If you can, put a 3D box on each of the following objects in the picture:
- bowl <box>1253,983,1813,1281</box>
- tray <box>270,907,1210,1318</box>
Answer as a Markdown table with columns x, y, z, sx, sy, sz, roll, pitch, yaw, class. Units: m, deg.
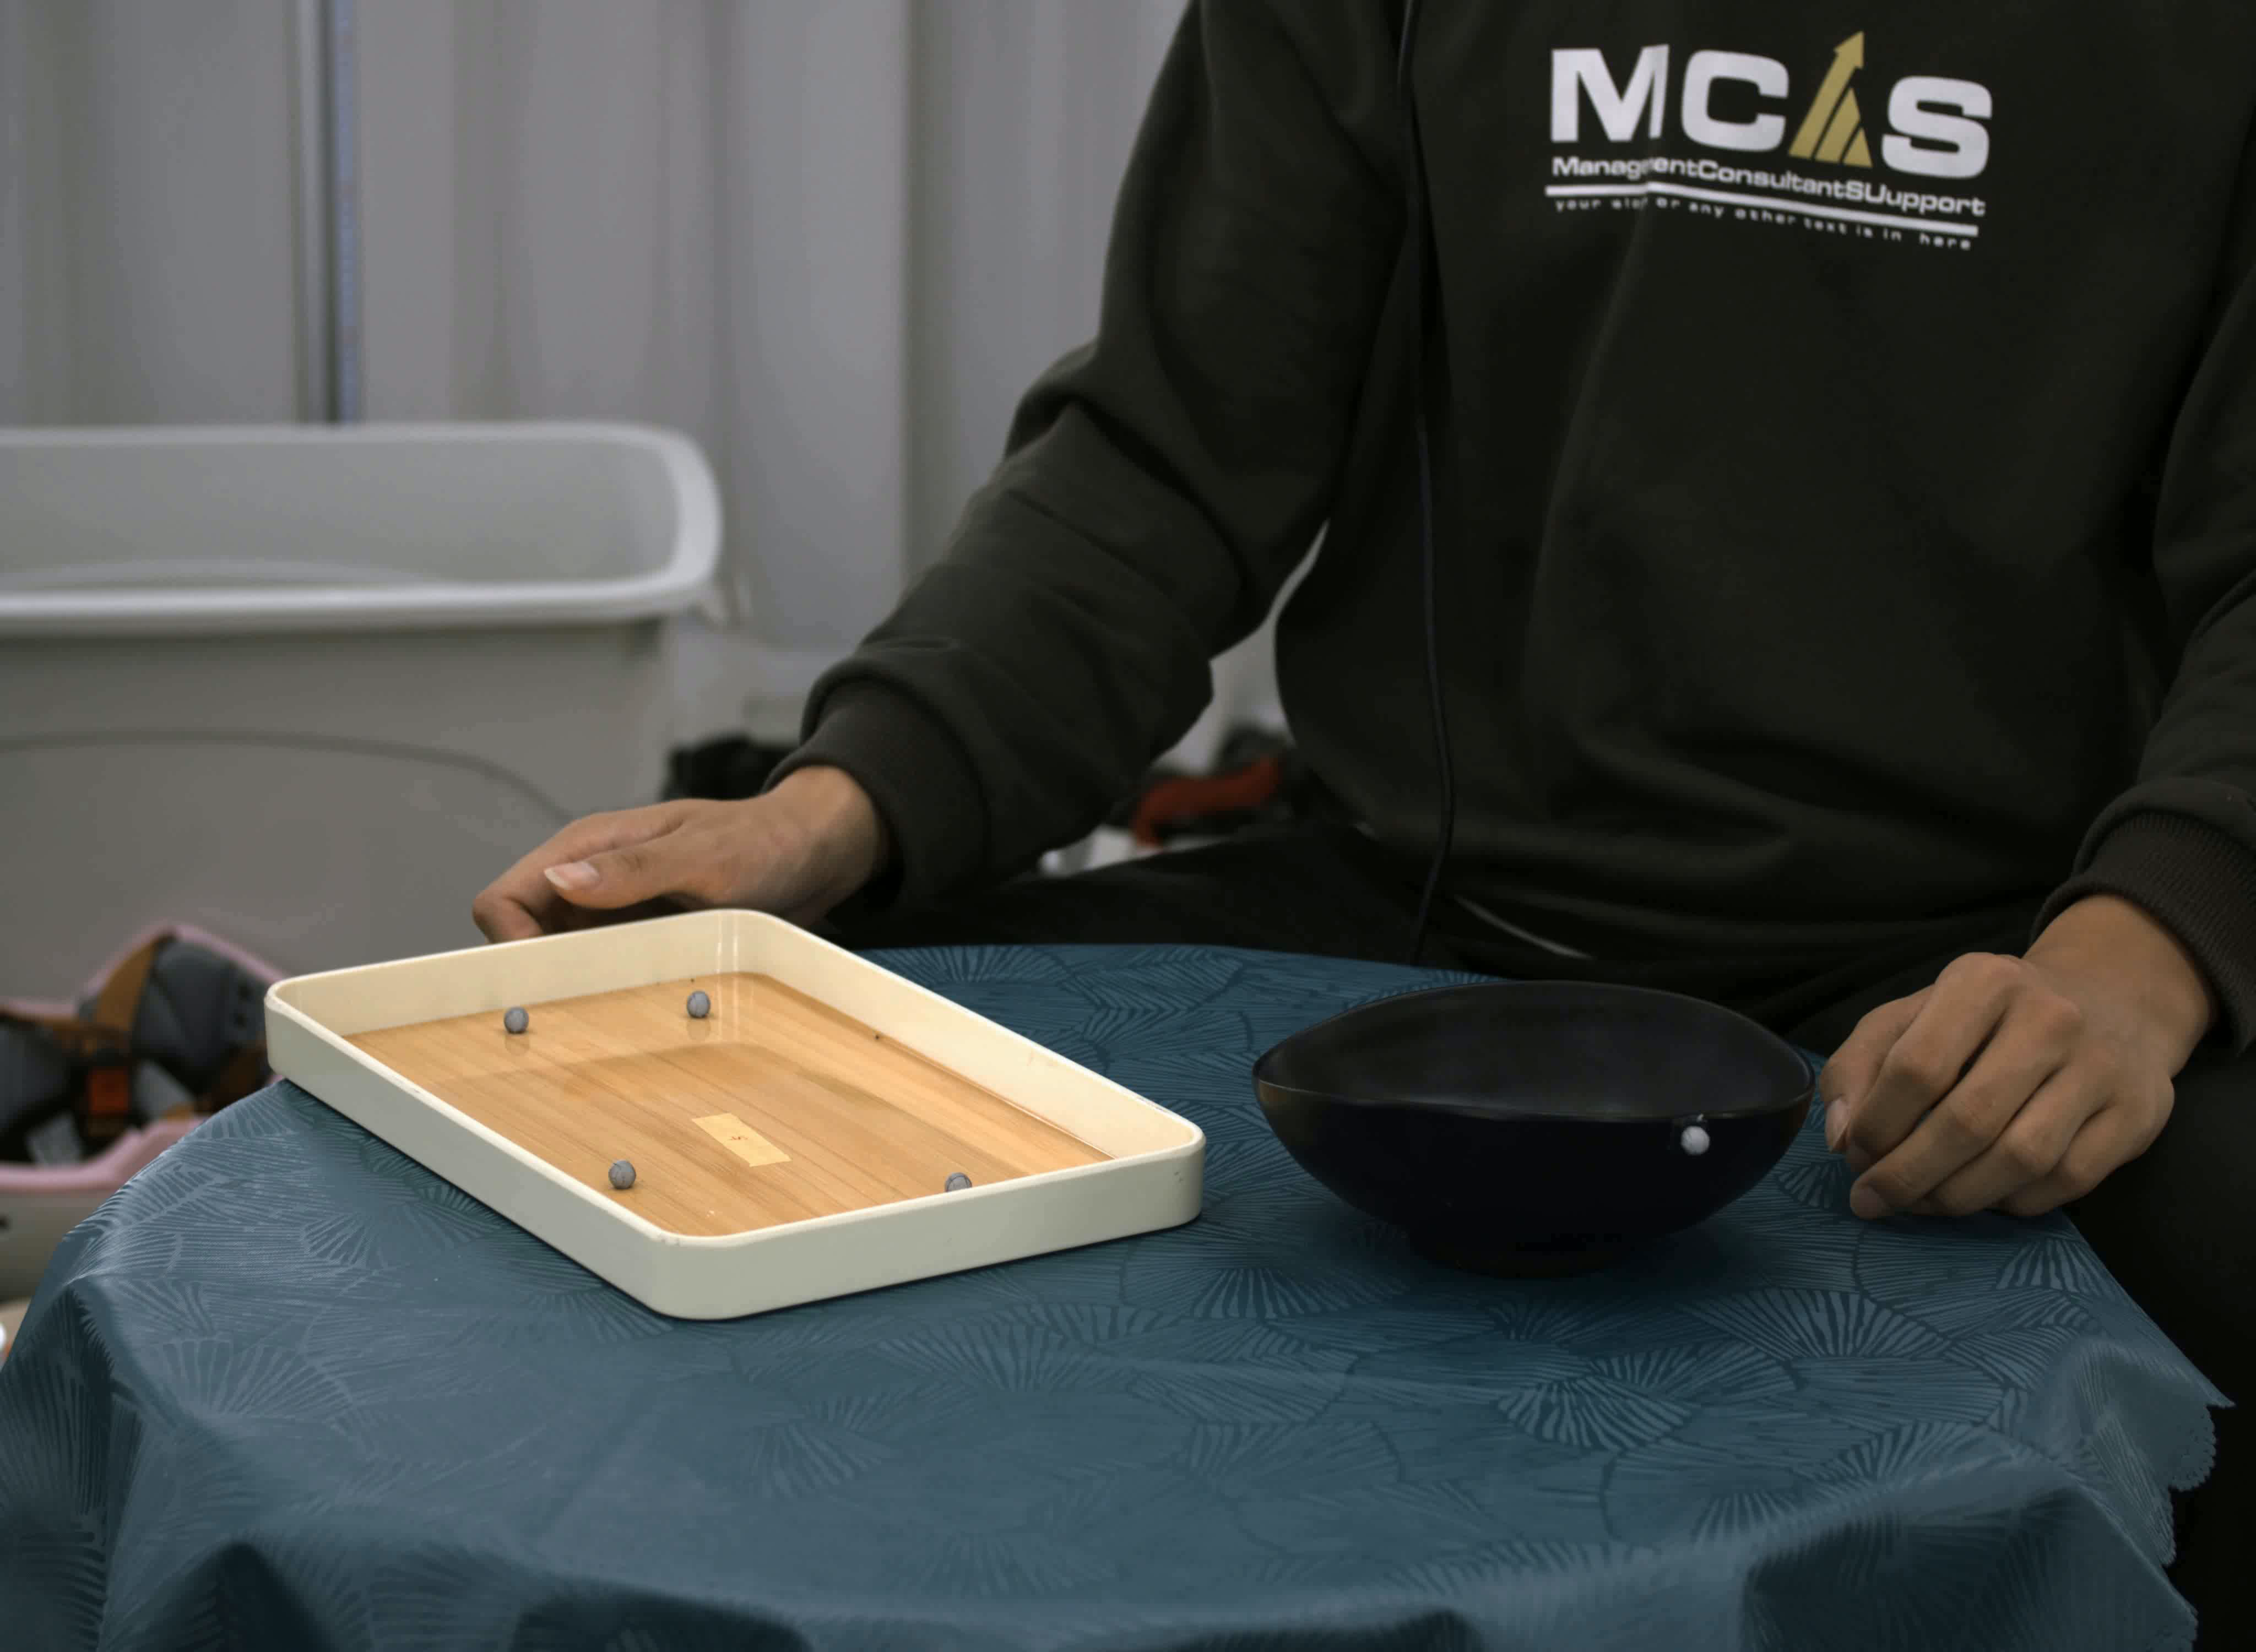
| x | y | z | sx | sy | sz | roll | pitch | yaw | class |
| --- | --- | --- | --- | --- | --- | --- | --- | --- | --- |
| 0.120 | 0.096 | 1.582 | 0.169 | 0.067 | 0.137 | 3 | 14 | 13 | bowl |
| -0.128 | 0.086 | 1.669 | 0.192 | 0.027 | 0.296 | -9 | 19 | -32 | tray |
